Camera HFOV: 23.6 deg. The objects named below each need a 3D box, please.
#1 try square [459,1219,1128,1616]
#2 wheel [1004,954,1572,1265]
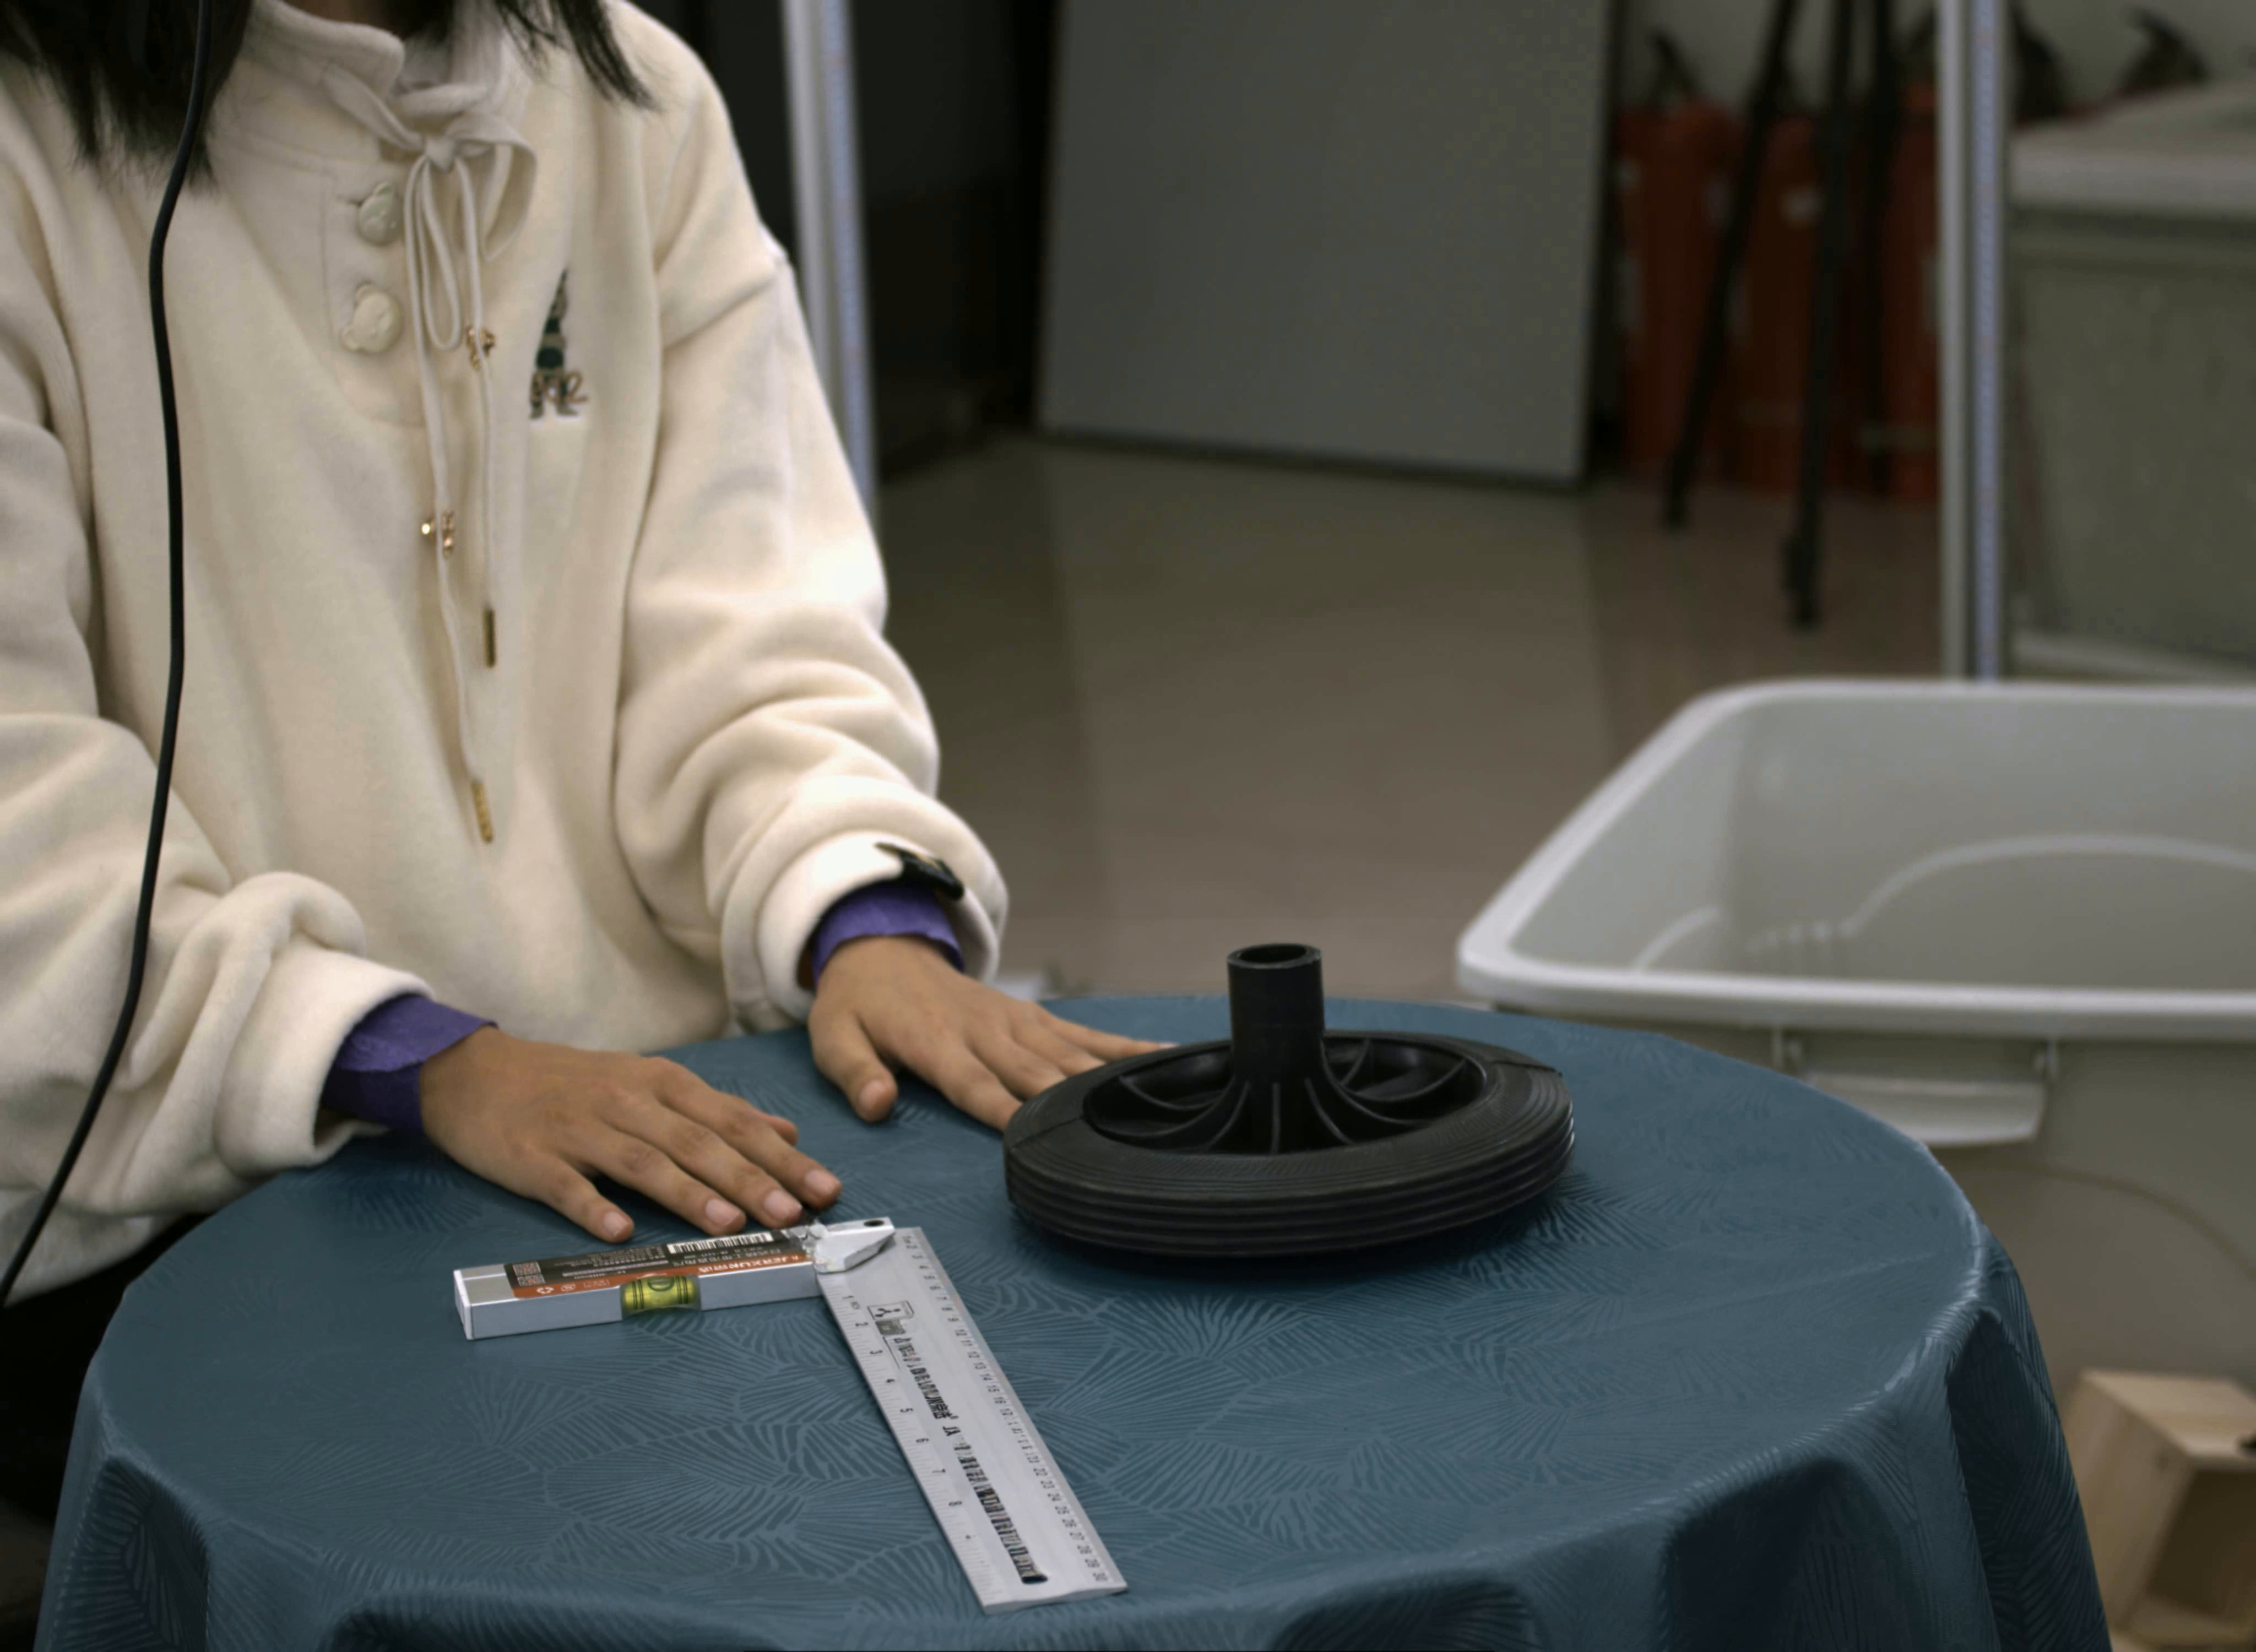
[{"bbox_3d":[-0.105,0.177,1.569,0.149,0.016,0.315,-10,15,-10],"label":"try square"},{"bbox_3d":[0.050,0.084,1.746,0.187,0.080,0.187,1,14,25],"label":"wheel"}]
